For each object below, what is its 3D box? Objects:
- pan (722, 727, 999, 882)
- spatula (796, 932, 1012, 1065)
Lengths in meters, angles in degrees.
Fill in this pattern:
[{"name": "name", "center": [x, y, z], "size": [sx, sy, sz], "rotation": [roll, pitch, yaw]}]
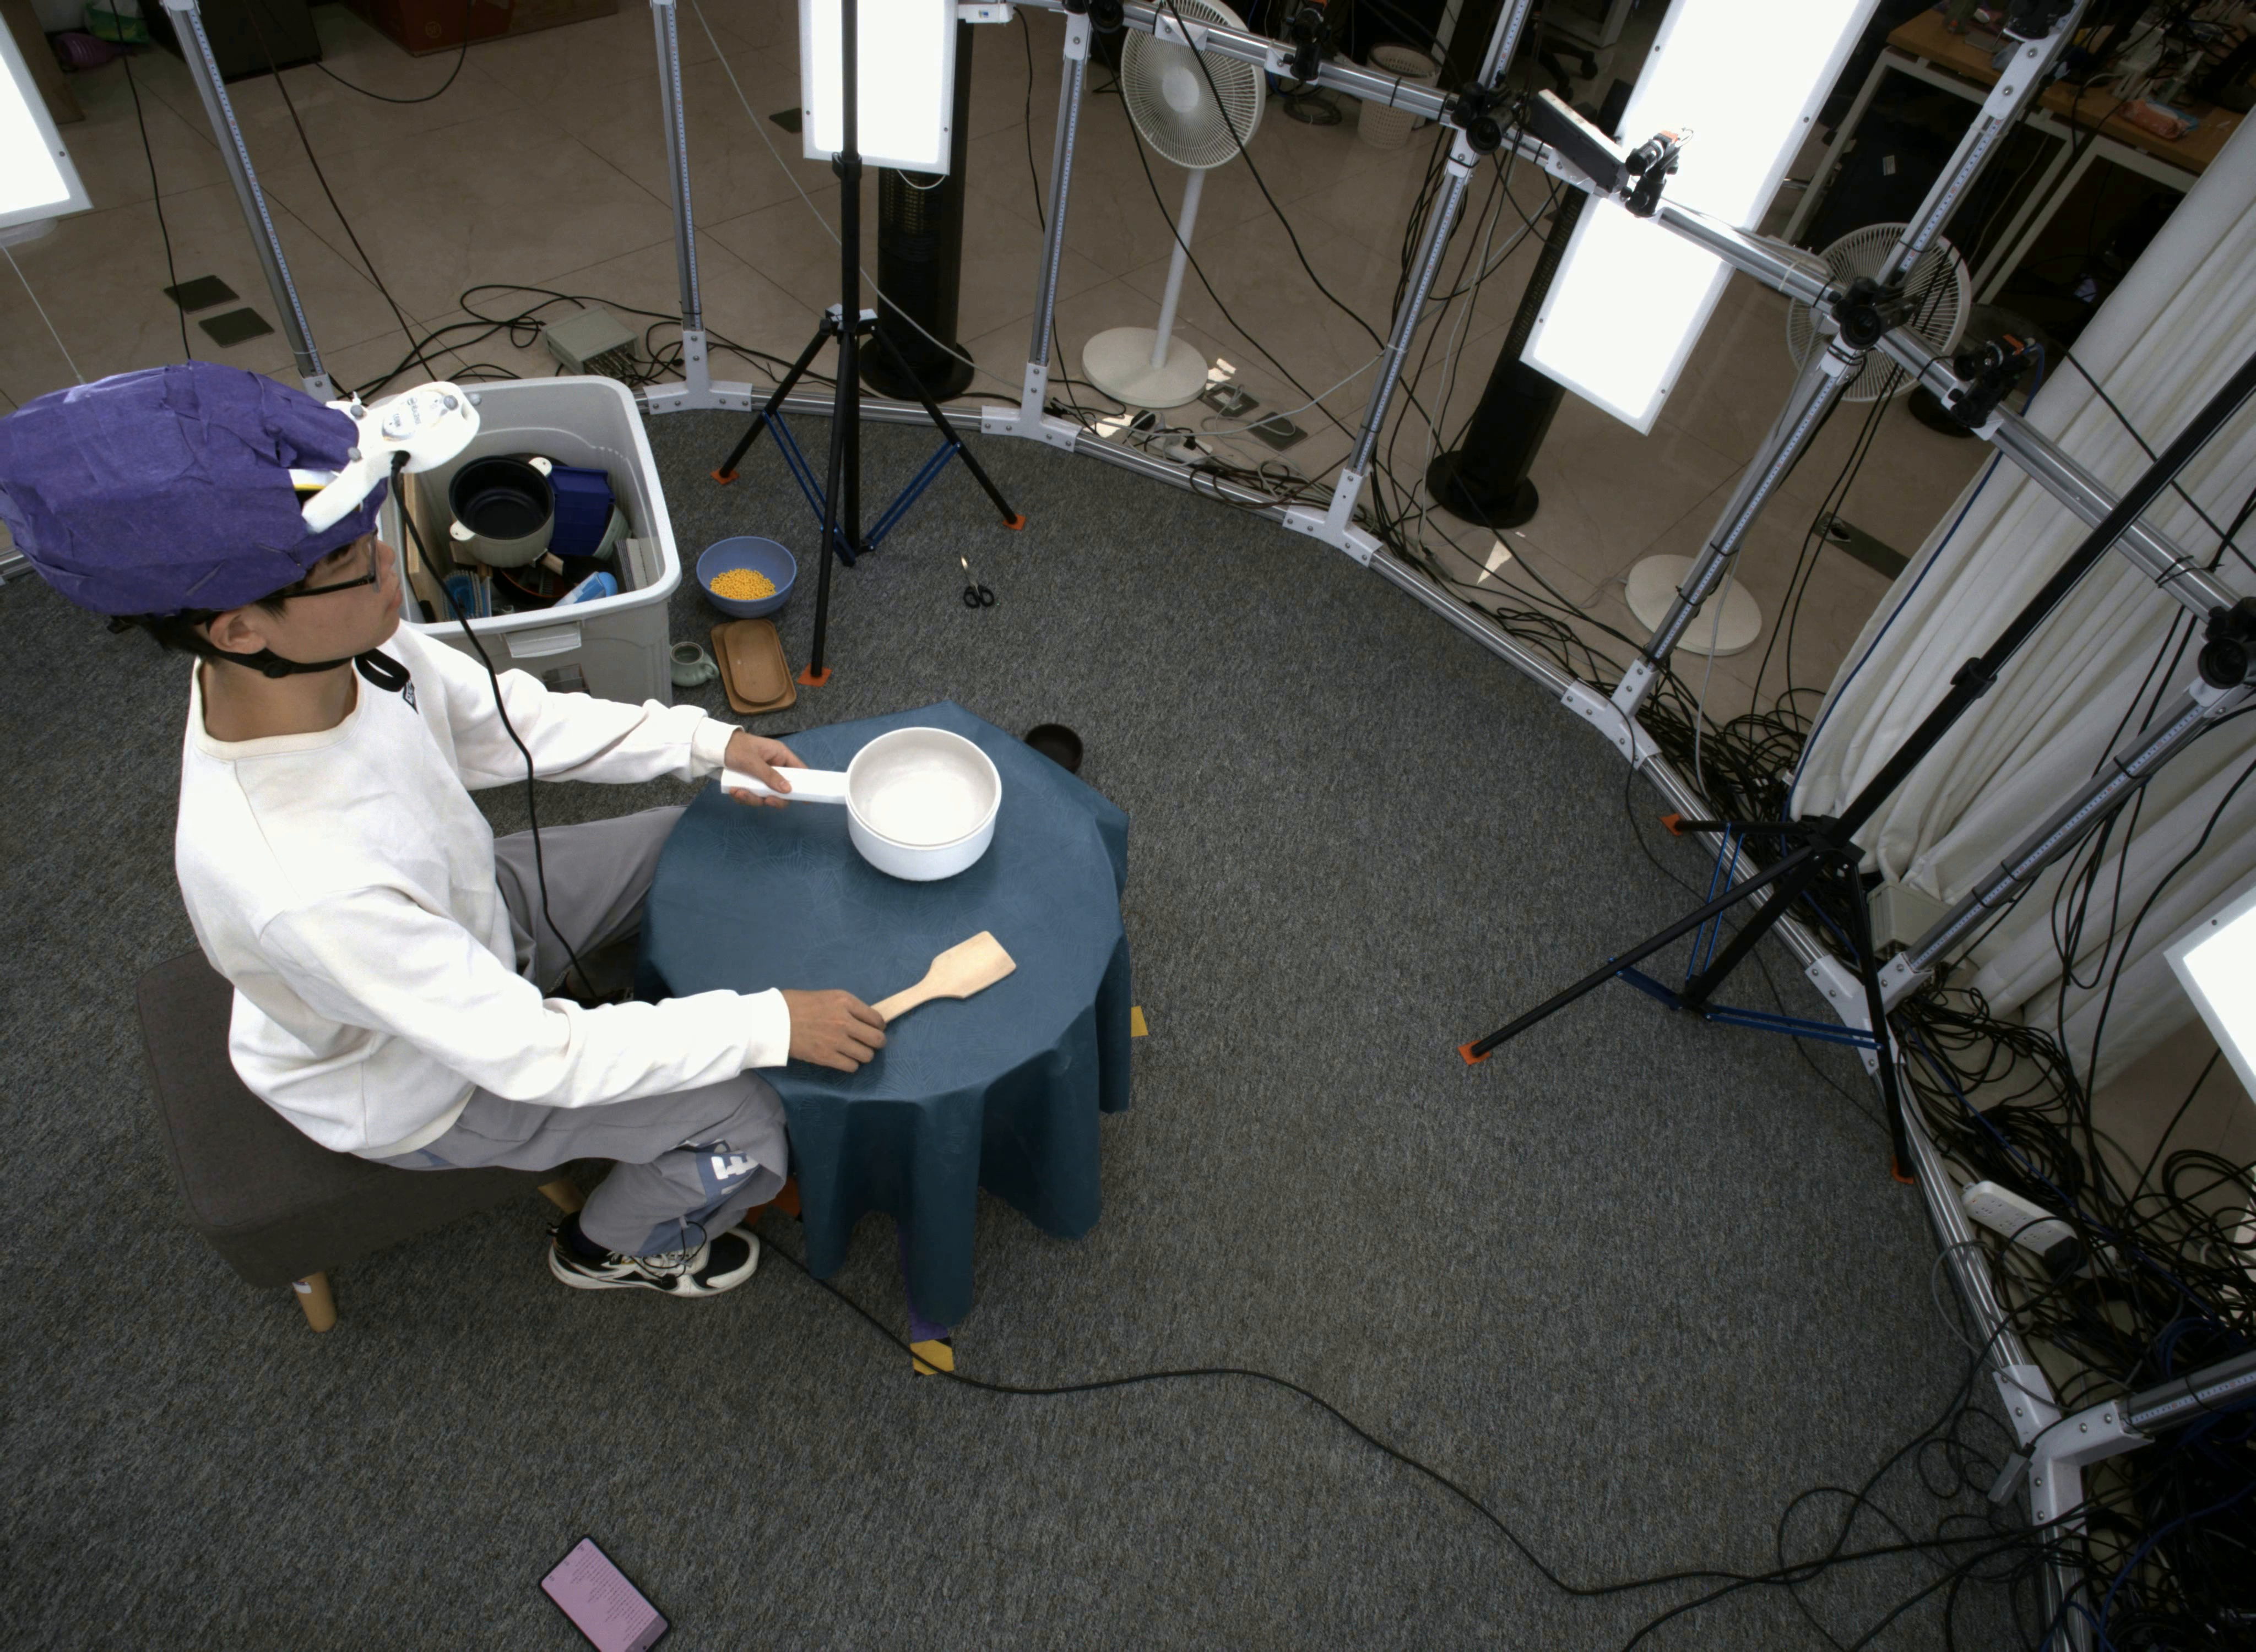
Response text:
[{"name": "pan", "center": [-0.349, -0.028, 1.713], "size": [0.354, 0.104, 0.197], "rotation": [3, 54, -9]}, {"name": "spatula", "center": [-0.275, 0.215, 1.598], "size": [0.294, 0.011, 0.070], "rotation": [-27, 64, -32]}]
